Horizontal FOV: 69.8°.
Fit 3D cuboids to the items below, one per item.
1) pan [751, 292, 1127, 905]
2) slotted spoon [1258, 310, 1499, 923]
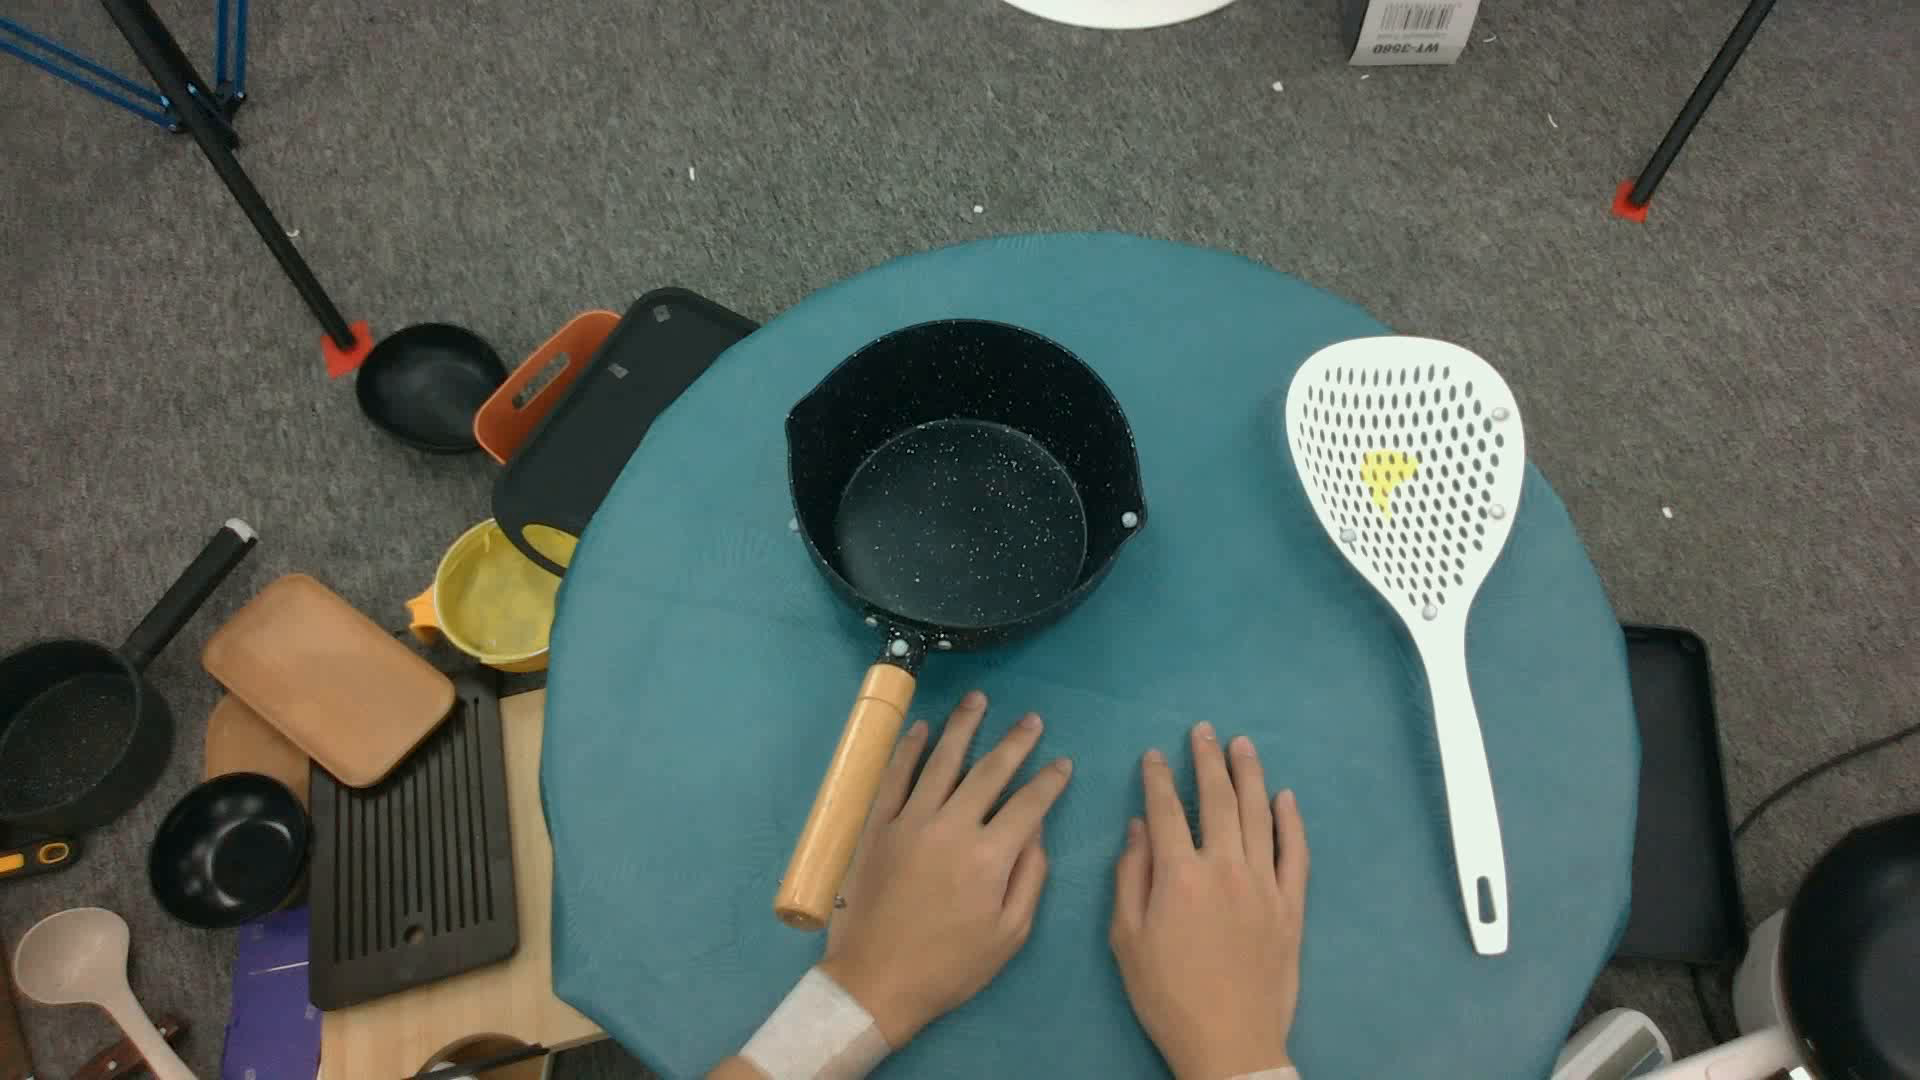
[{"bbox_3d":[-0.032,0.030,0.715,0.207,0.108,0.344,15,65,4],"label":"pan"},{"bbox_3d":[0.248,0.030,0.760,0.137,0.050,0.349,-3,64,-5],"label":"slotted spoon"}]
